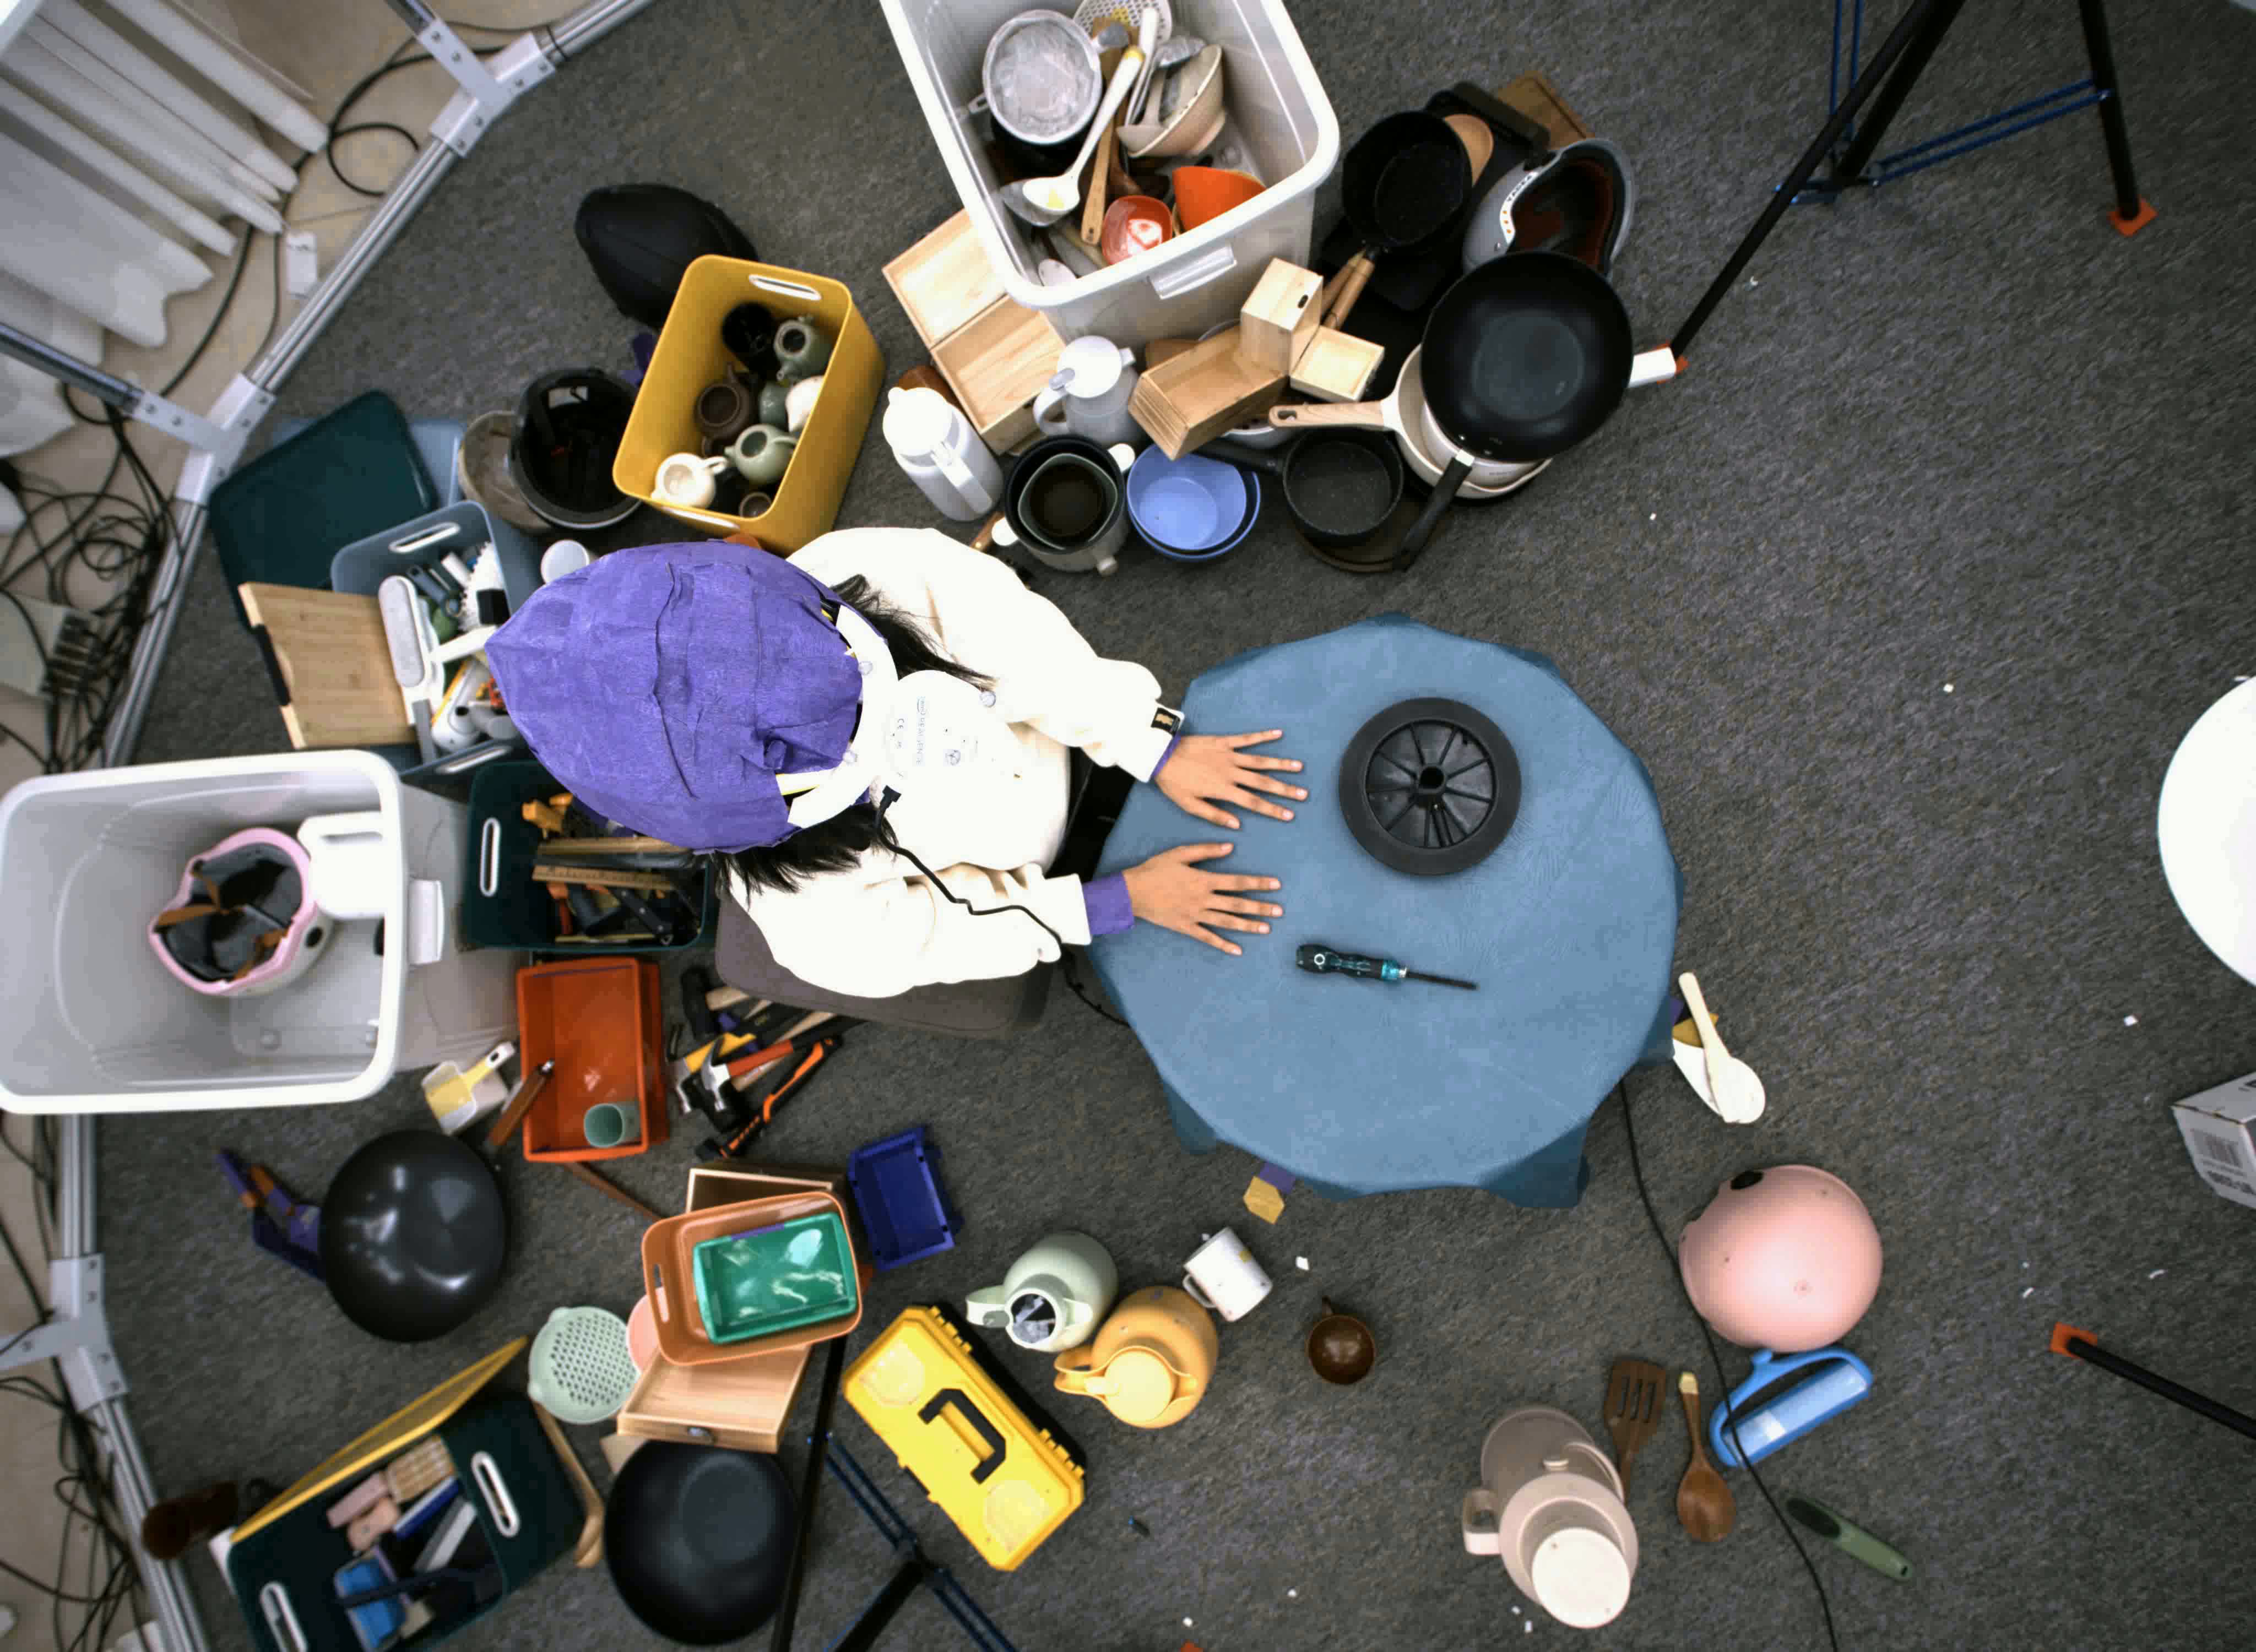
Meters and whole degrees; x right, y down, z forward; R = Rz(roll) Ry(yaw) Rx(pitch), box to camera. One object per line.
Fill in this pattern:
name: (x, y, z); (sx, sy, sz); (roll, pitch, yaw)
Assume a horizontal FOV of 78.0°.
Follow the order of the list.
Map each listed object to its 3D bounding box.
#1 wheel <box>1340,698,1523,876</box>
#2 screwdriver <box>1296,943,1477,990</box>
wheel: (0.313, -0.045, 1.420); (0.188, 0.079, 0.189); (-39, 81, 6)
screwdriver: (0.270, 0.151, 1.446); (0.190, 0.034, 0.033); (10, 87, 6)
